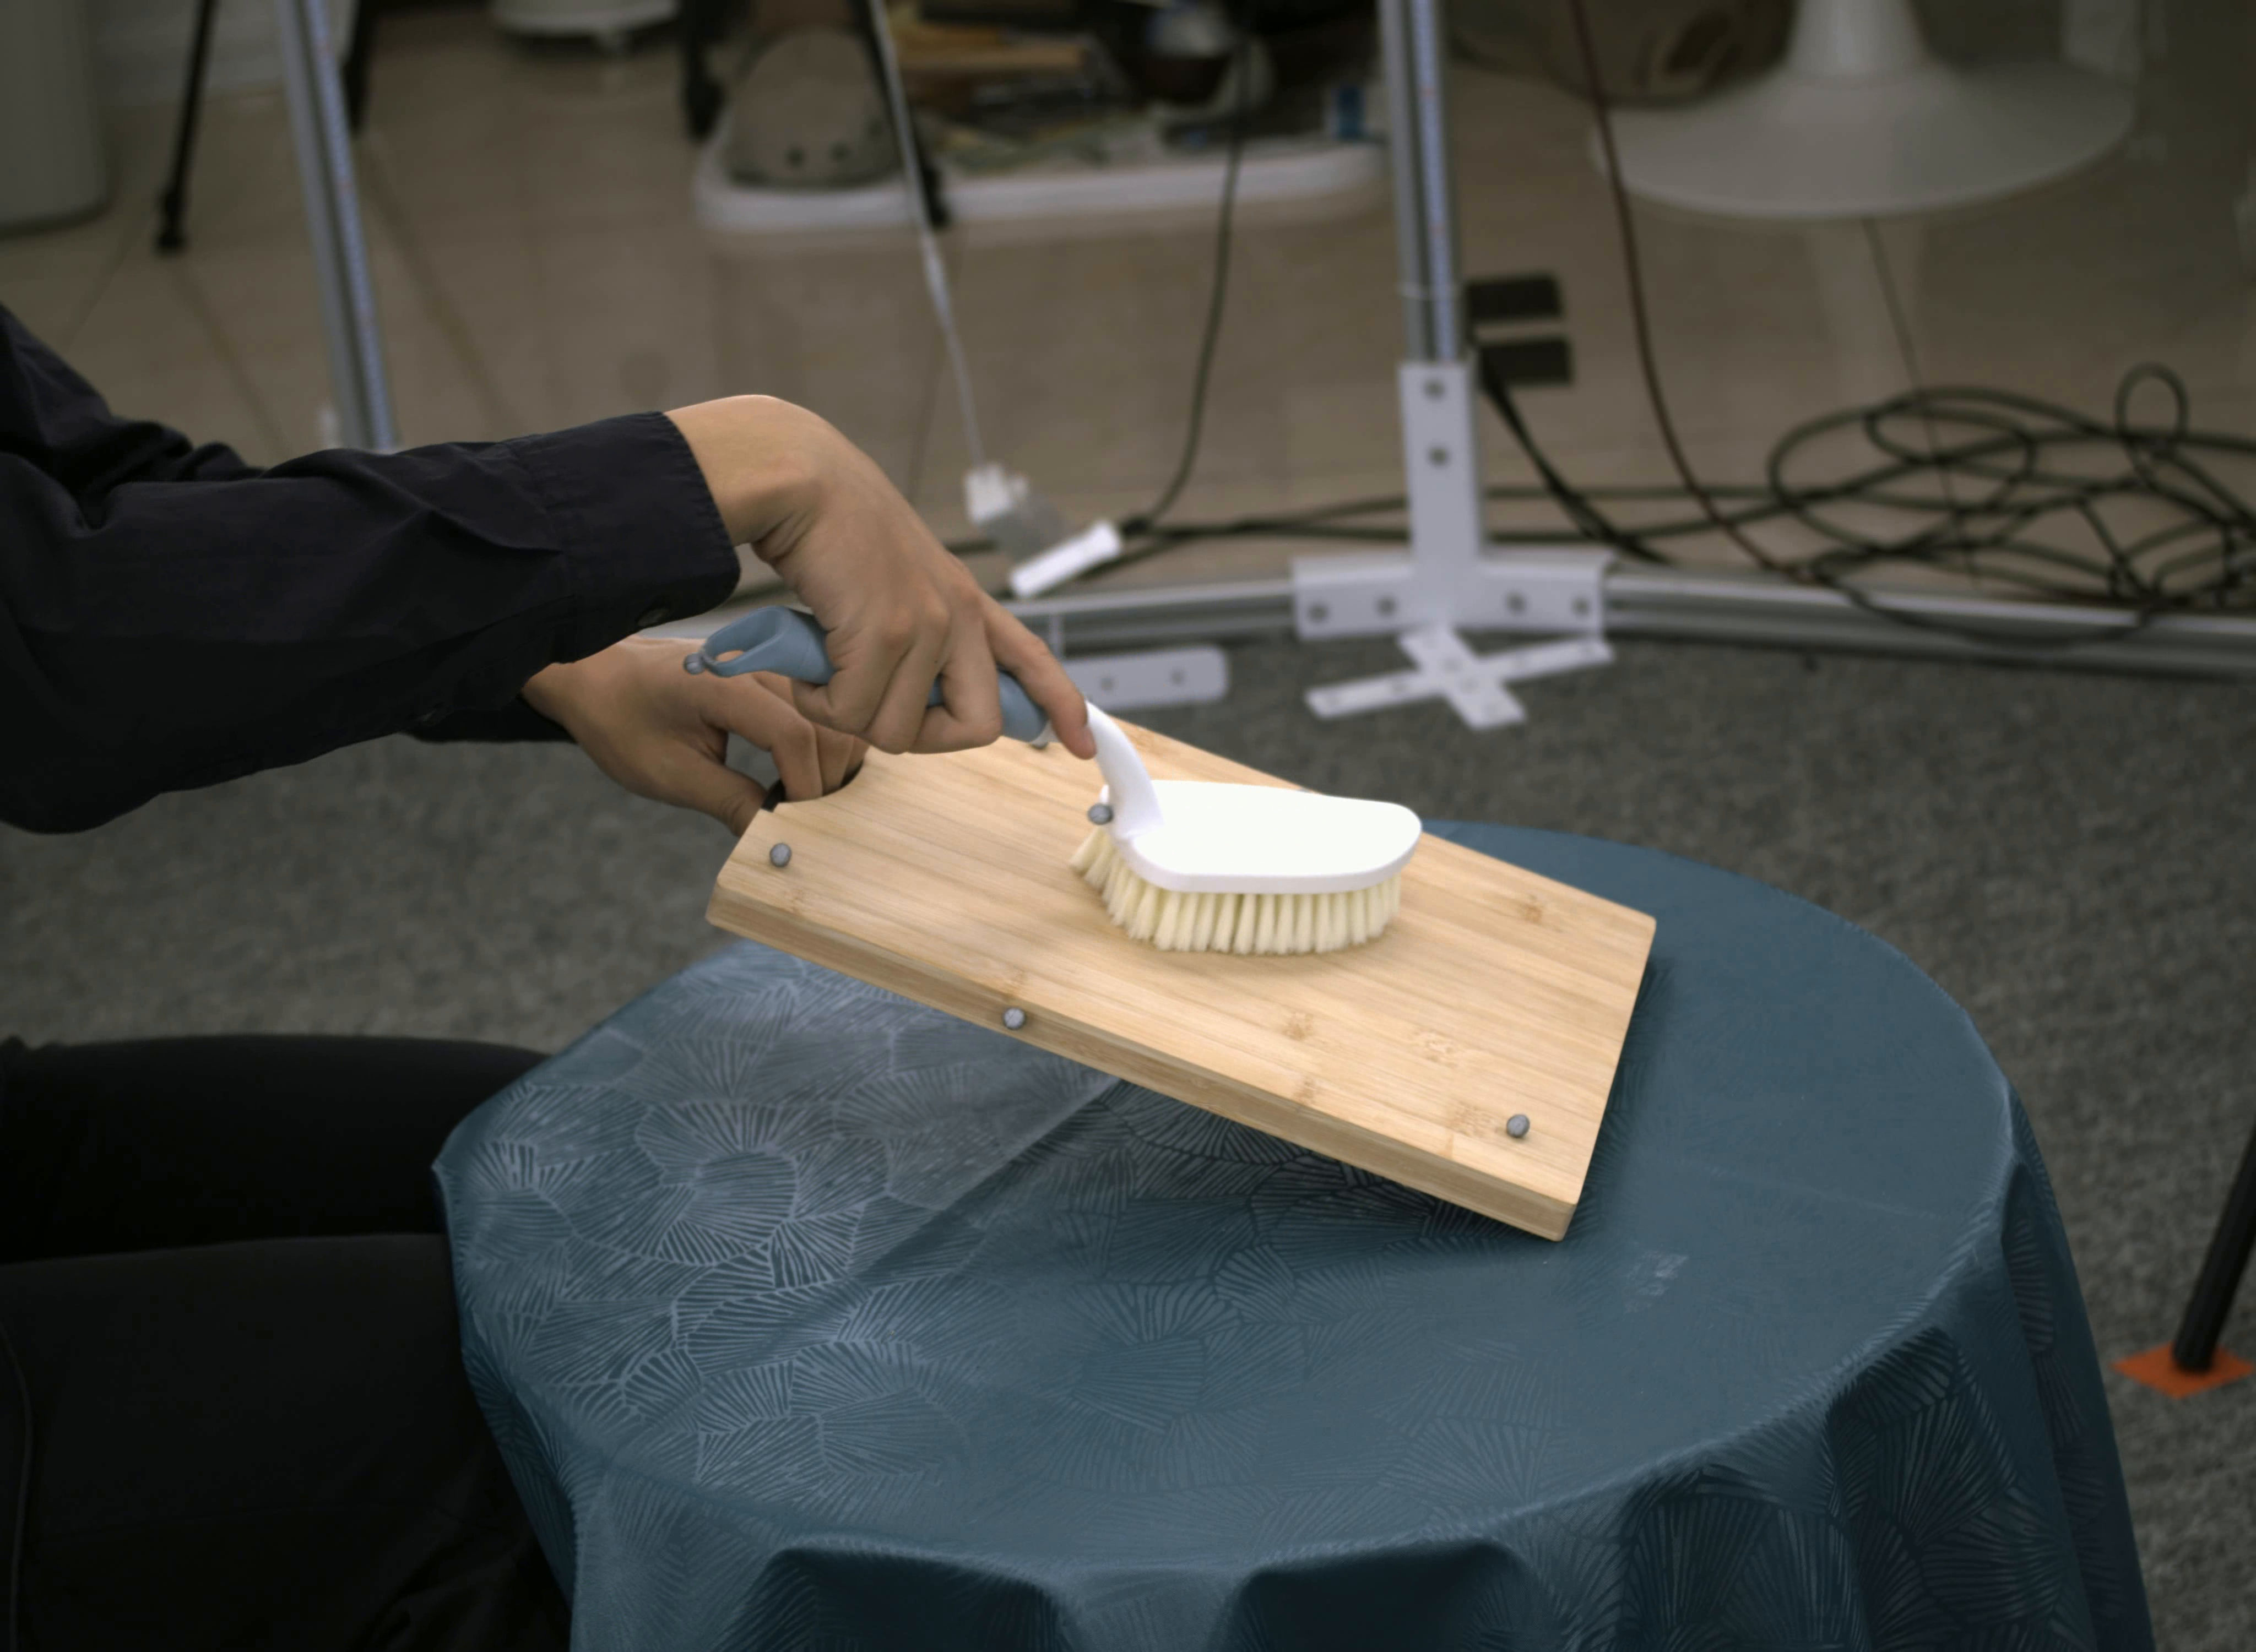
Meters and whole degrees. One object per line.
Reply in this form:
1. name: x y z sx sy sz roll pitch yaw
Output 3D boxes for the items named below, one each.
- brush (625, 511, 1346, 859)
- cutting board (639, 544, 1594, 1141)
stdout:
1. brush: -0.062 -0.042 2.144 0.326 0.084 0.083 14 -11 -33
2. cutting board: 0.003 0.002 2.210 0.348 0.024 0.247 20 28 1
